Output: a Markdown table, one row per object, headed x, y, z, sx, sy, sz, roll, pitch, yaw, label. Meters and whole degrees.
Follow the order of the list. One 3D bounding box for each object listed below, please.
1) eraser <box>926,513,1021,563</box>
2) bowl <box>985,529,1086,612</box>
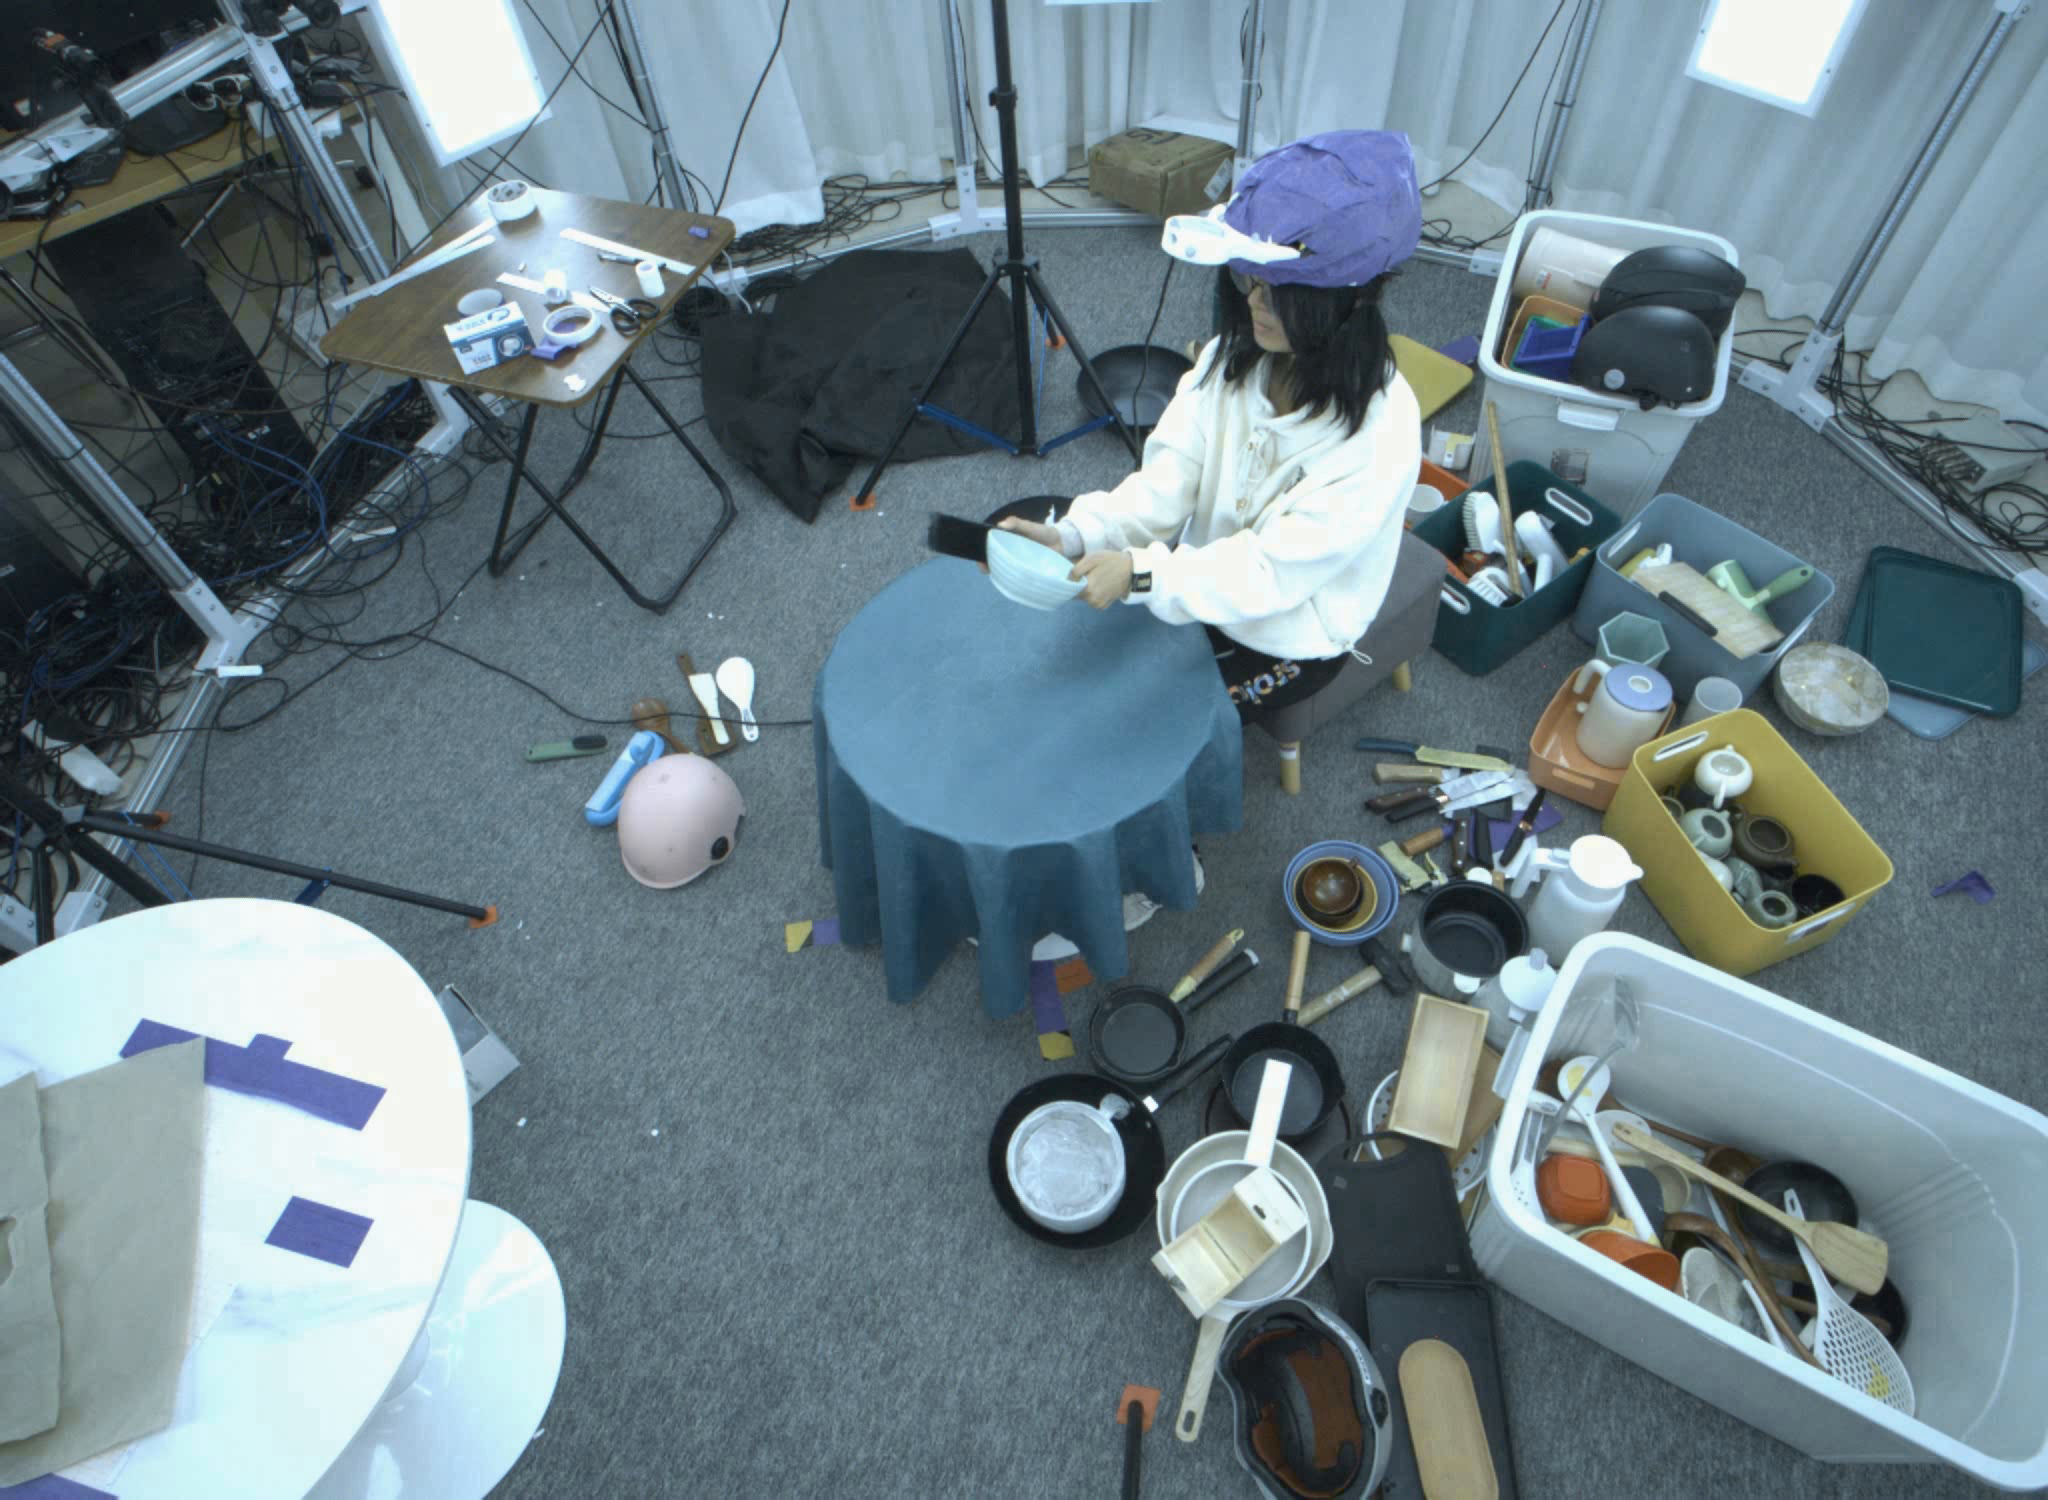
| x | y | z | sx | sy | sz | roll | pitch | yaw | label |
| --- | --- | --- | --- | --- | --- | --- | --- | --- | --- |
| -0.069 | -0.285 | 1.666 | 0.128 | 0.053 | 0.030 | 7 | 11 | -25 | eraser |
| 0.005 | -0.234 | 1.648 | 0.153 | 0.058 | 0.150 | 24 | 25 | -11 | bowl |
